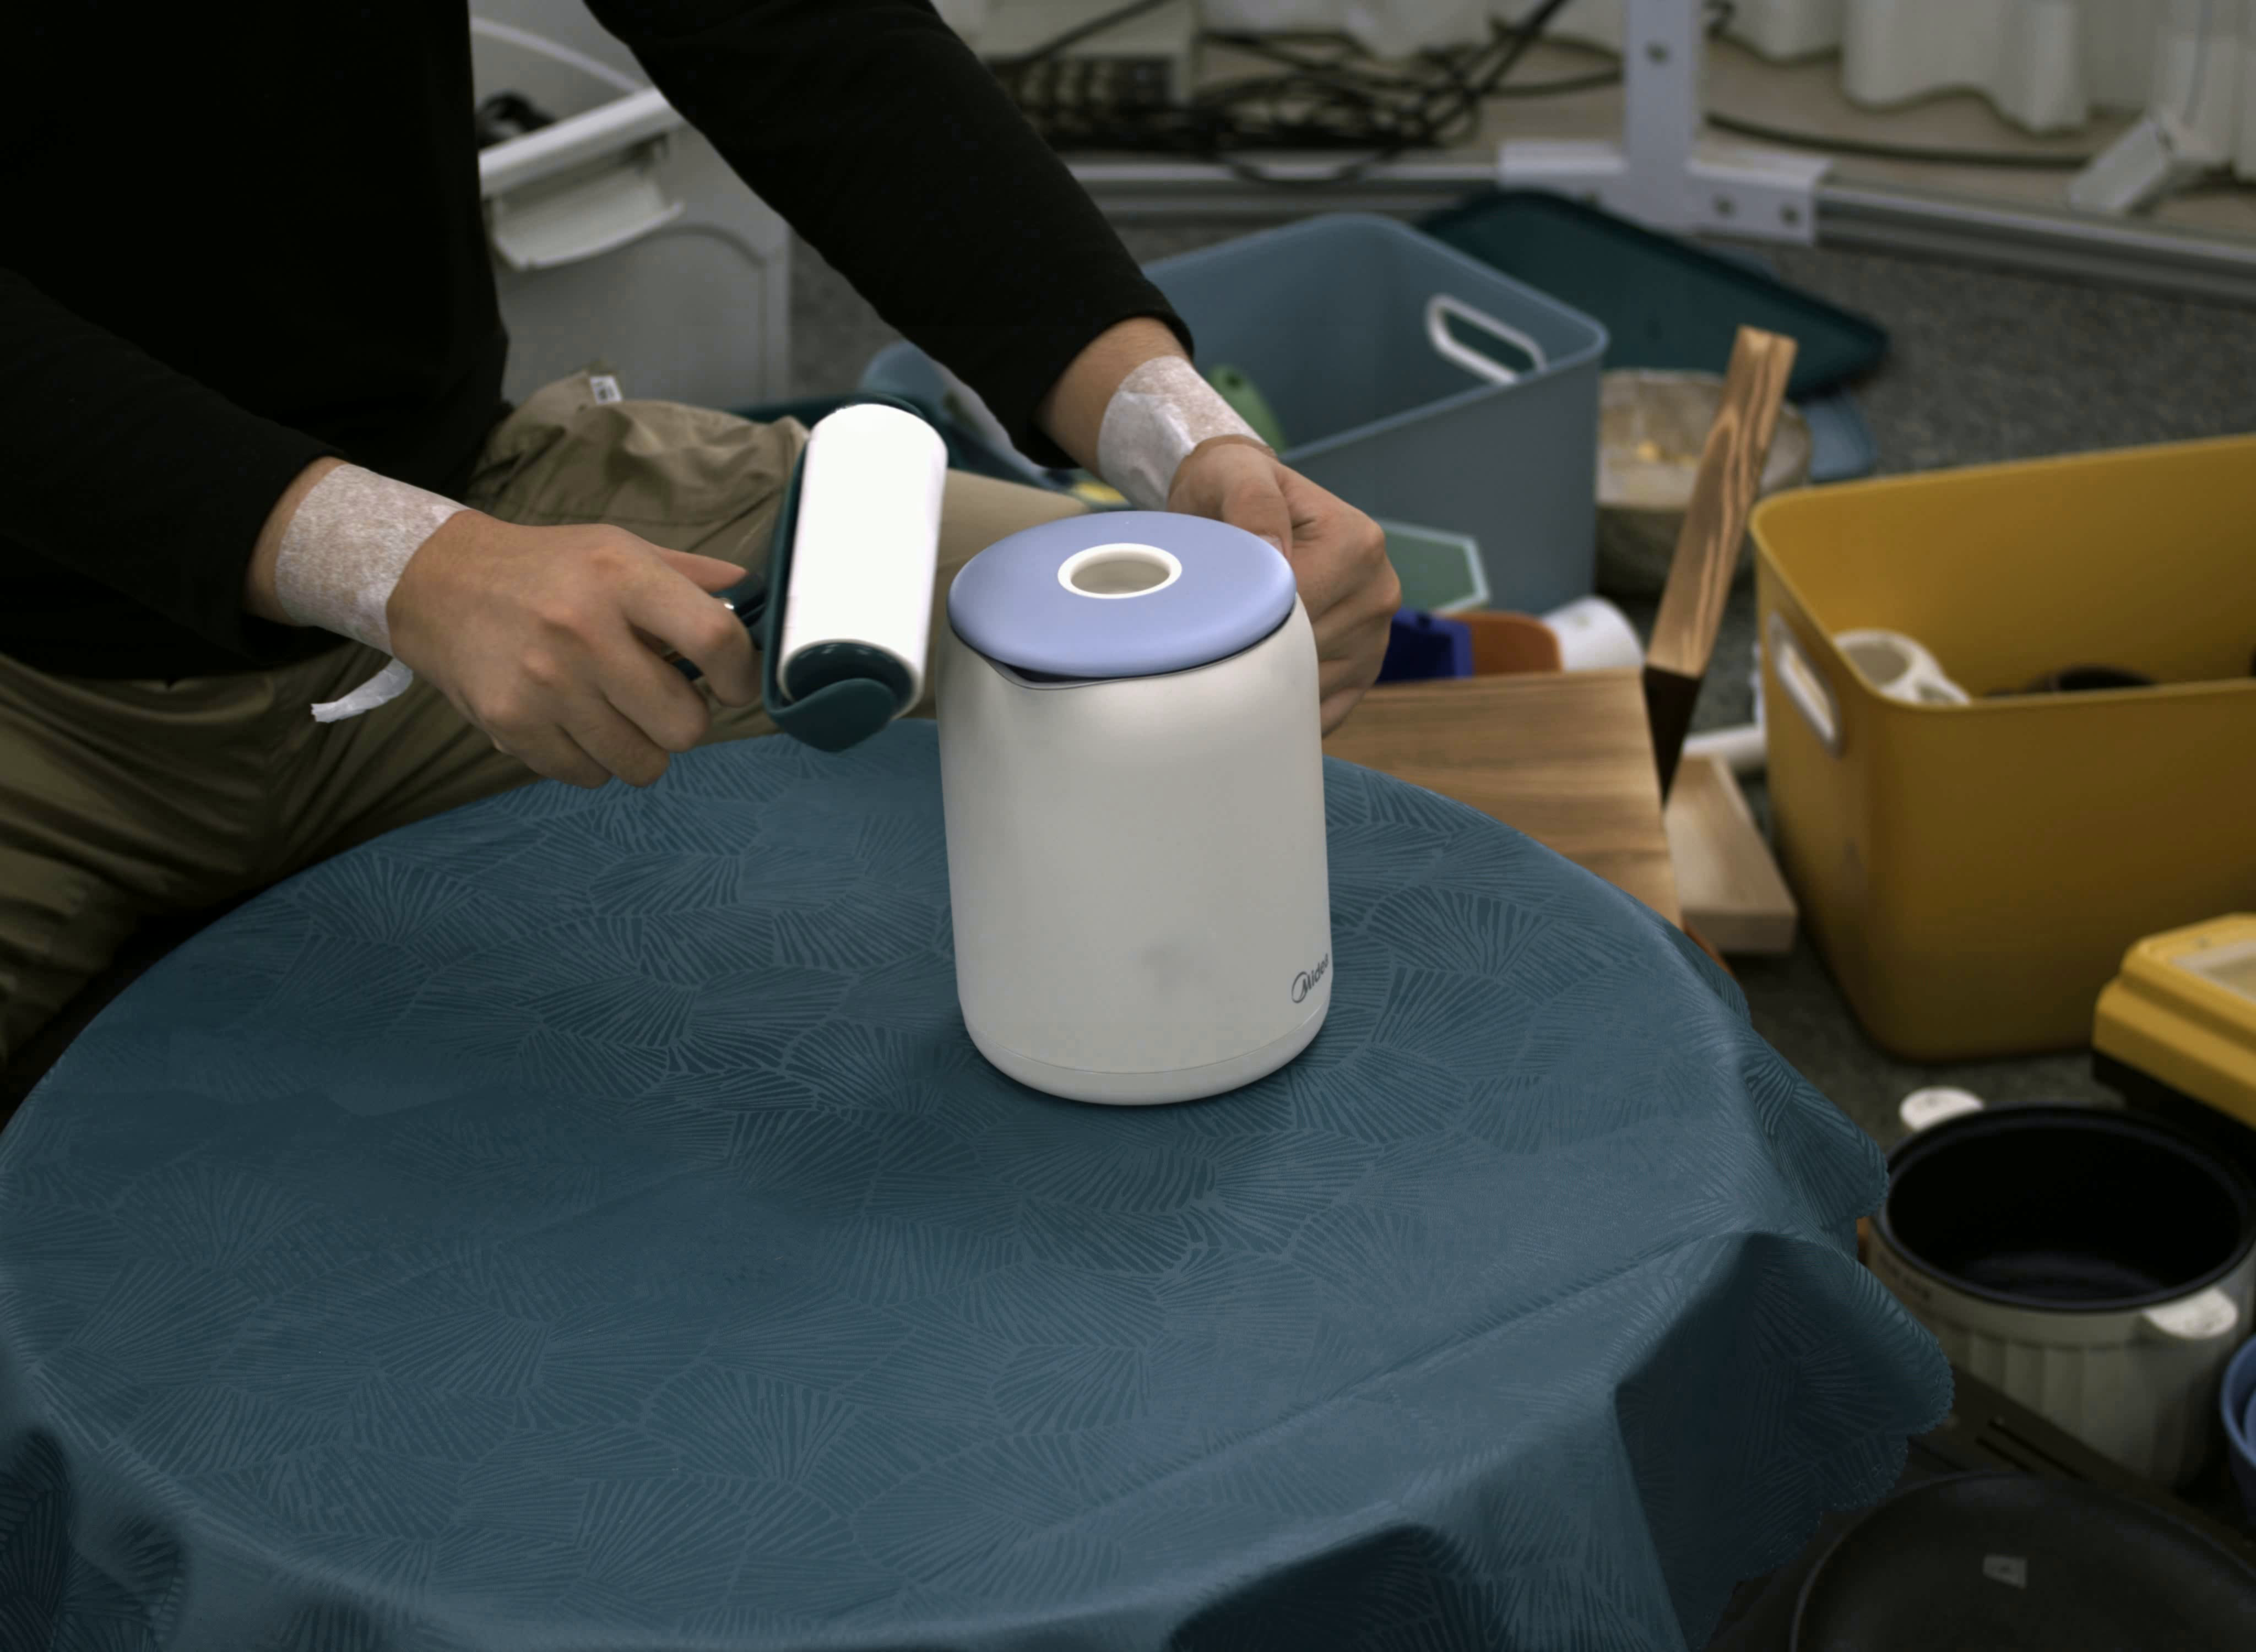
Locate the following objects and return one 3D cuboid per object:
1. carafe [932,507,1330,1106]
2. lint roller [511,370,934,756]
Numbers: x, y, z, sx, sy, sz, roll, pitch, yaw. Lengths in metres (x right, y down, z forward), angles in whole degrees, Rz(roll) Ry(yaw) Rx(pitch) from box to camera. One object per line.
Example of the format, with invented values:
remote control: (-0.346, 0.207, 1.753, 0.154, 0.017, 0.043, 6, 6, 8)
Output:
carafe: (0.011, -0.018, 1.945, 0.131, 0.181, 0.194, 9, 27, 22)
lint roller: (-0.147, -0.068, 1.883, 0.178, 0.048, 0.137, -18, 46, 27)
